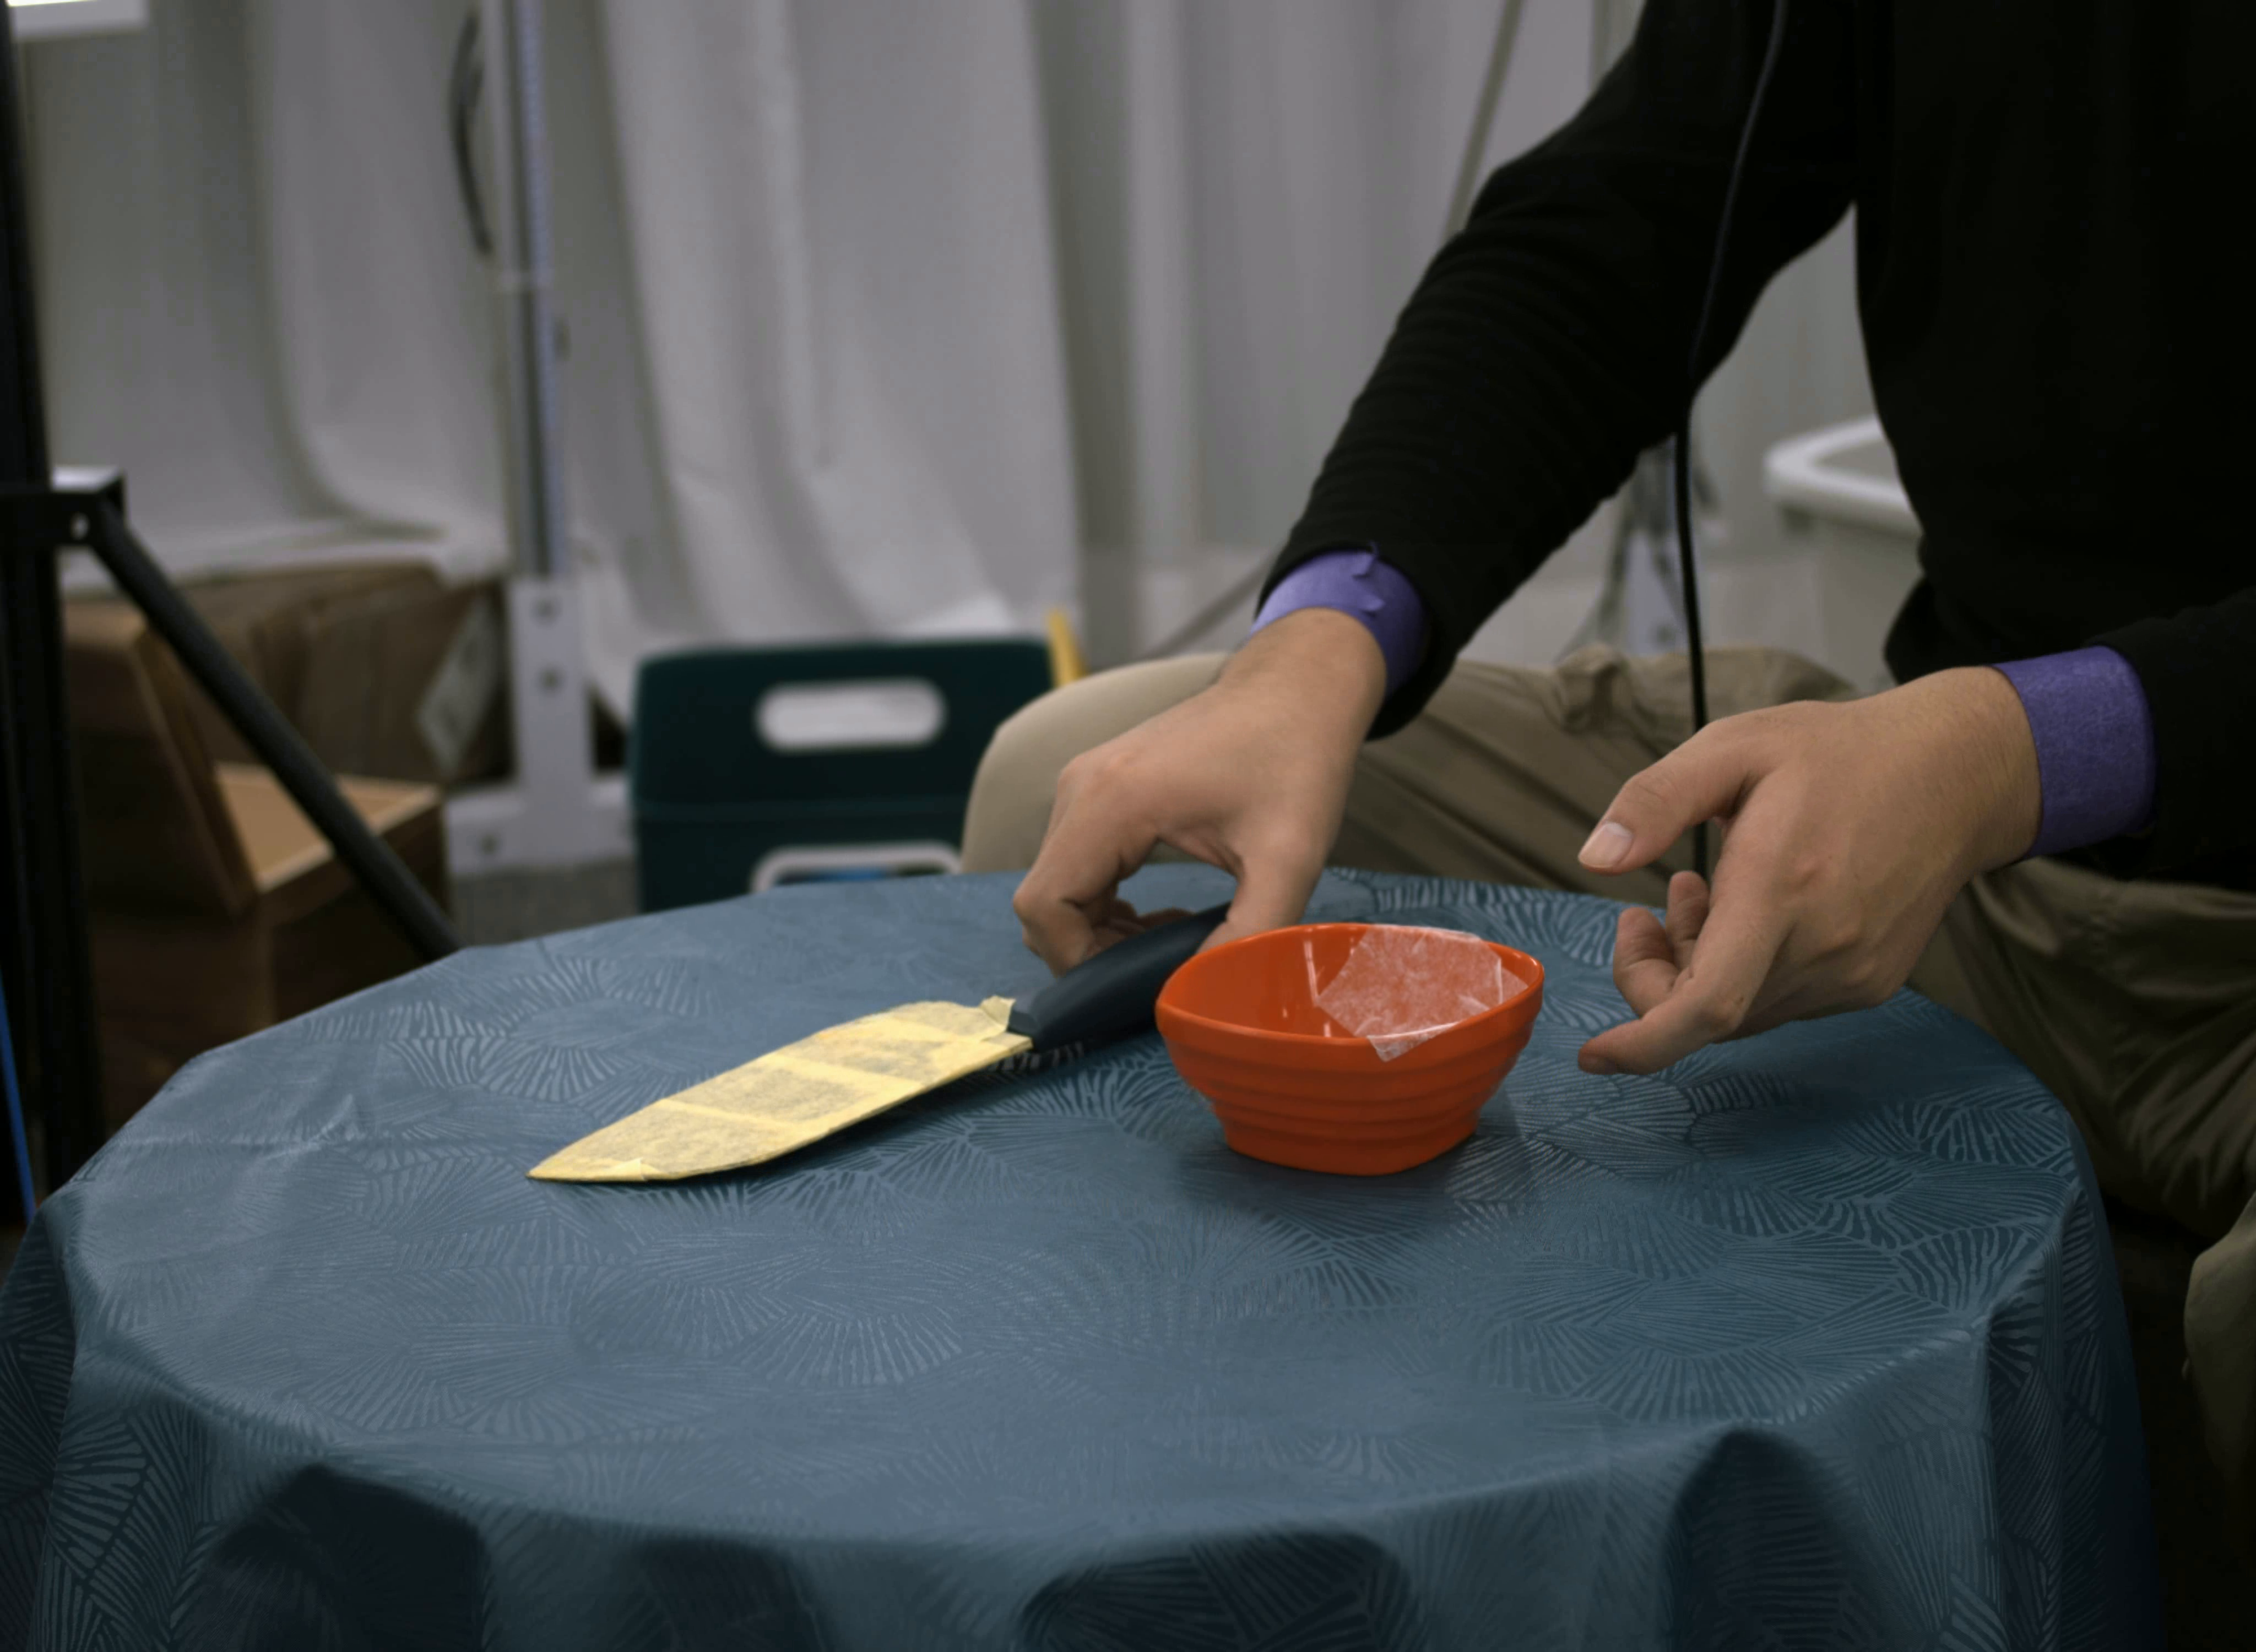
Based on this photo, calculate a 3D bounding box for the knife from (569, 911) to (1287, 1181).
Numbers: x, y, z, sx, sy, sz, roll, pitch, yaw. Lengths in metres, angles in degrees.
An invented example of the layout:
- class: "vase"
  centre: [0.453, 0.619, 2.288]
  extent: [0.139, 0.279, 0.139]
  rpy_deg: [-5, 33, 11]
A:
- class: "knife"
  centre: [-0.060, 0.069, 1.672]
  extent: [0.283, 0.027, 0.083]
  rpy_deg: [-18, 22, -39]

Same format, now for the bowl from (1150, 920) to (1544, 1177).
- class: "bowl"
  centre: [0.067, 0.069, 1.586]
  extent: [0.118, 0.051, 0.119]
  rpy_deg: [-4, 15, 0]
